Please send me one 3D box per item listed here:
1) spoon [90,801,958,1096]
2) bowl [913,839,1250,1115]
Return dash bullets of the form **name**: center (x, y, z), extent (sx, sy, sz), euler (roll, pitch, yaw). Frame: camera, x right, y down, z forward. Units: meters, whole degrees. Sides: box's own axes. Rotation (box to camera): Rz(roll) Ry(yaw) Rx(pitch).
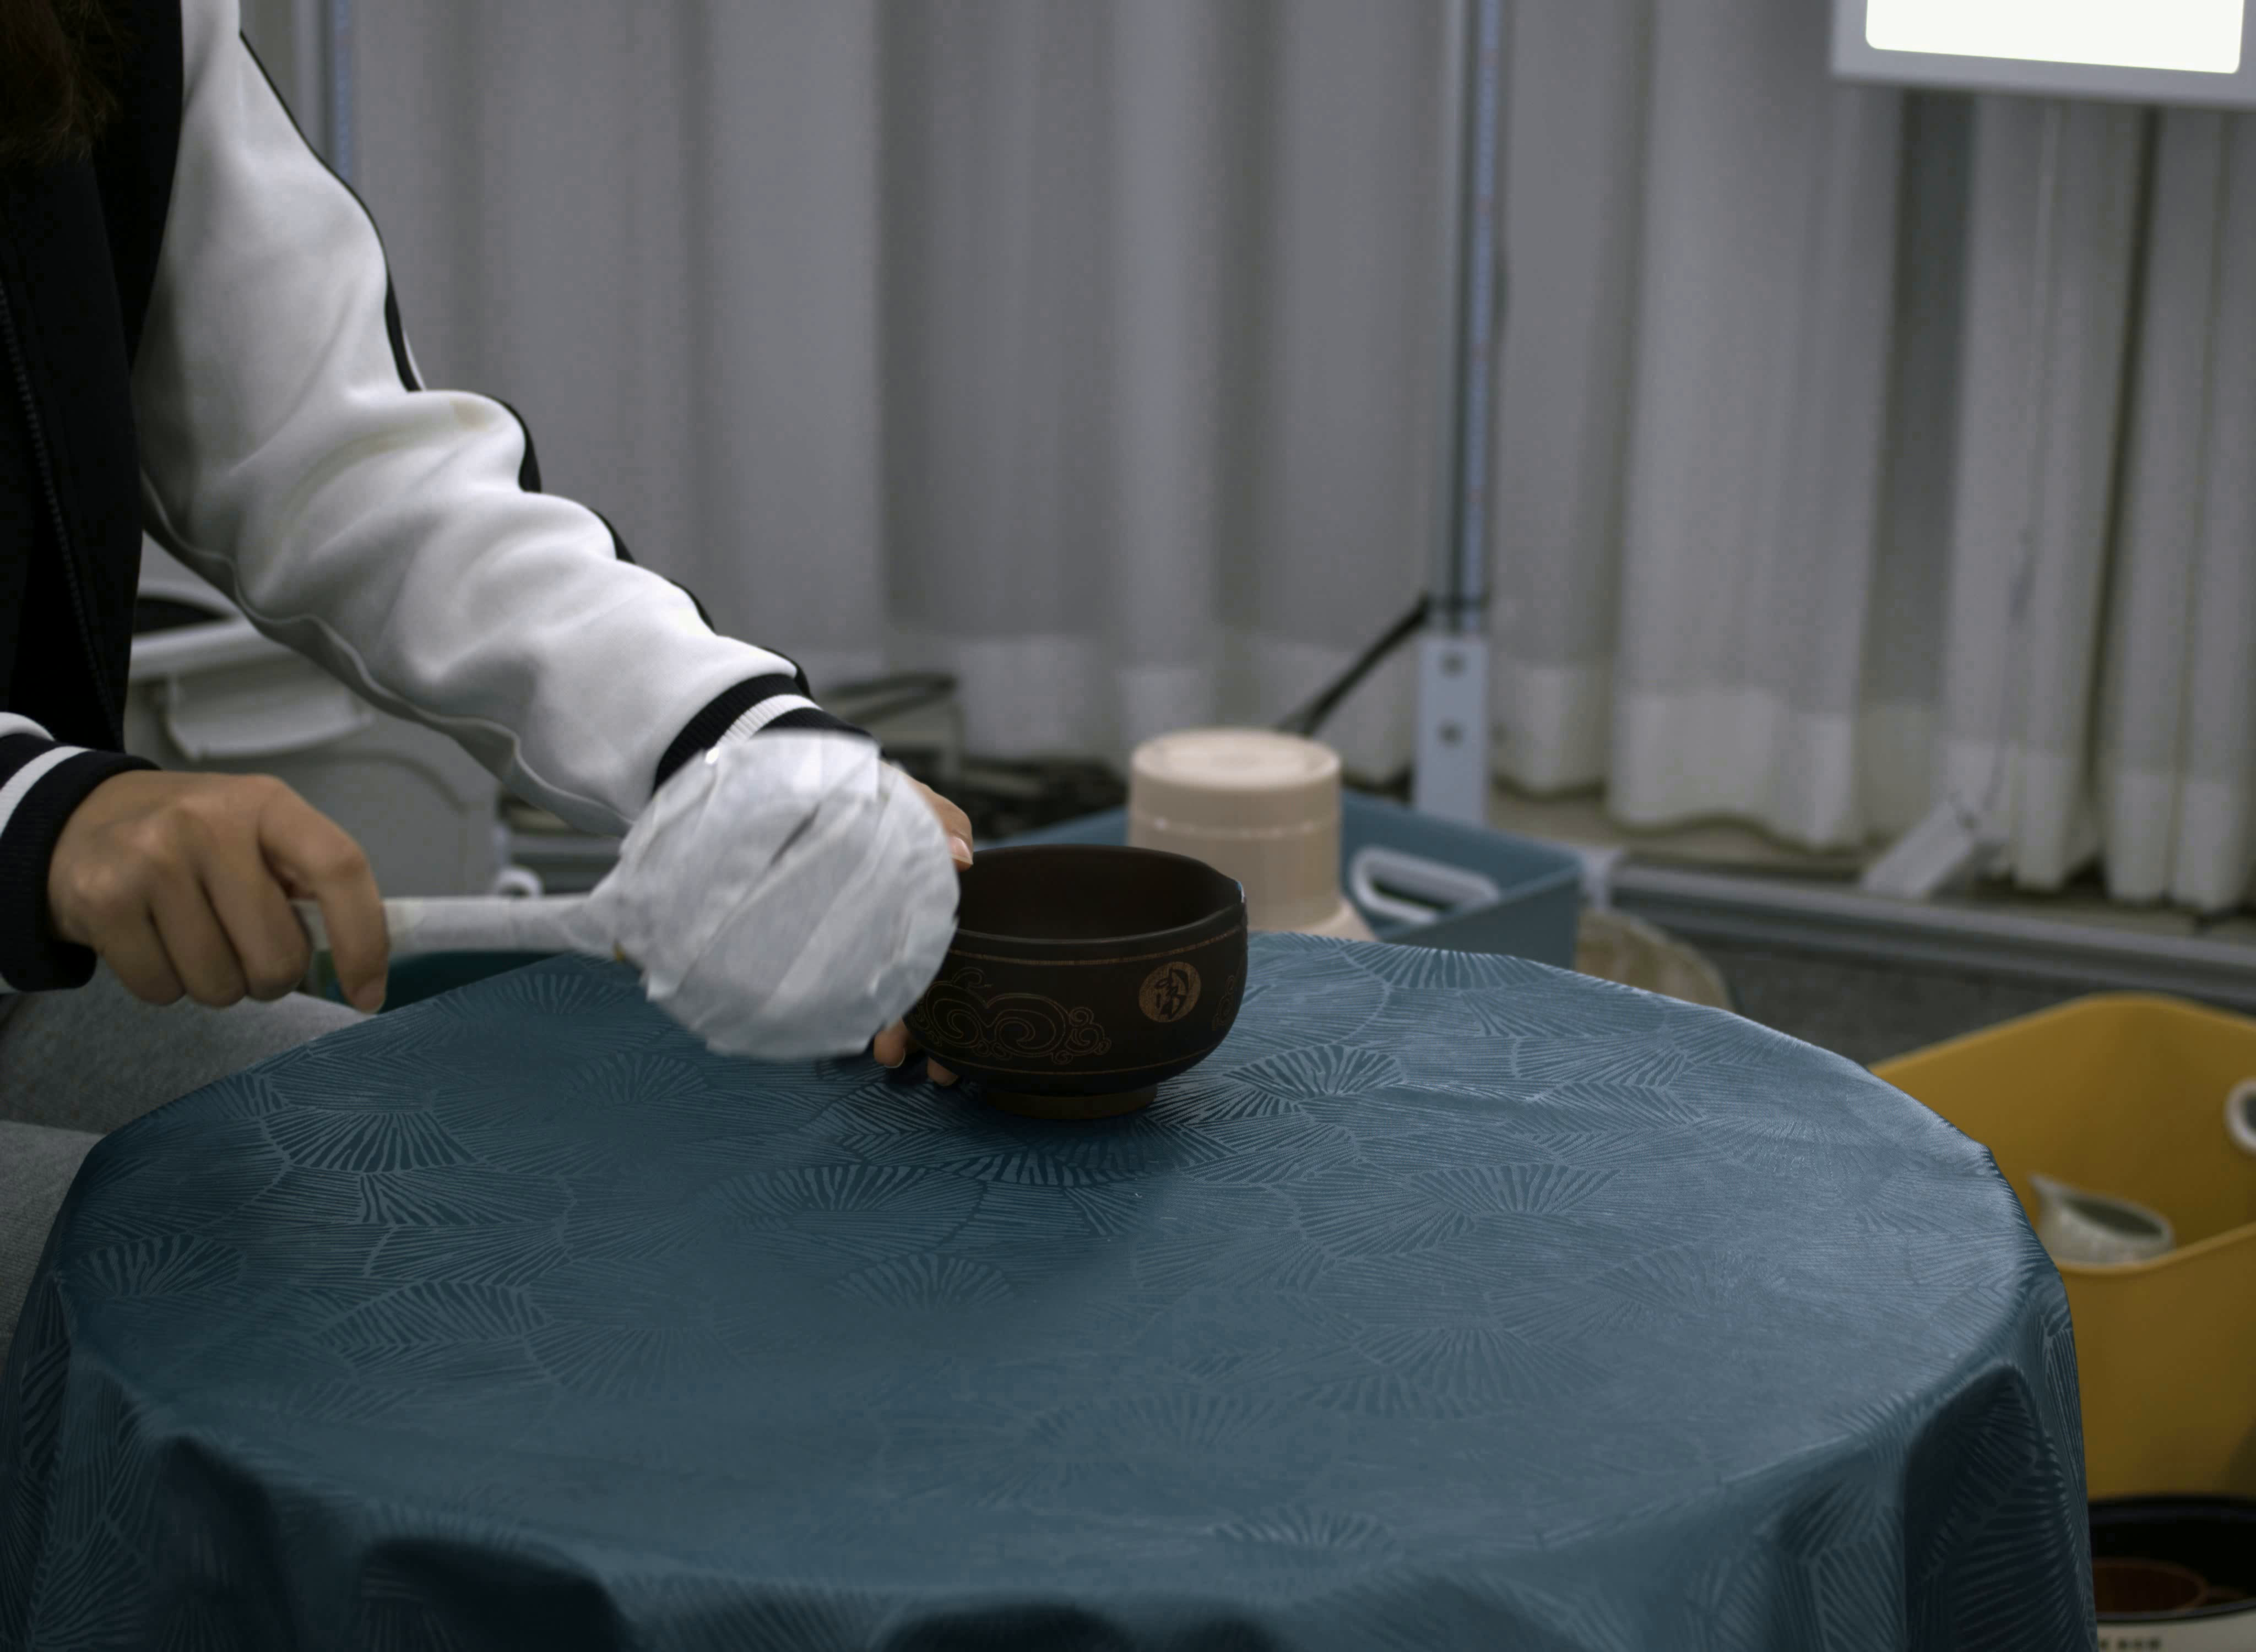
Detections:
- **spoon**: center (-0.177, 0.034, 1.515), extent (0.274, 0.102, 0.059), euler (2, 35, 31)
- **bowl**: center (-0.019, 0.052, 1.701), extent (0.117, 0.070, 0.117), euler (0, 15, 0)
